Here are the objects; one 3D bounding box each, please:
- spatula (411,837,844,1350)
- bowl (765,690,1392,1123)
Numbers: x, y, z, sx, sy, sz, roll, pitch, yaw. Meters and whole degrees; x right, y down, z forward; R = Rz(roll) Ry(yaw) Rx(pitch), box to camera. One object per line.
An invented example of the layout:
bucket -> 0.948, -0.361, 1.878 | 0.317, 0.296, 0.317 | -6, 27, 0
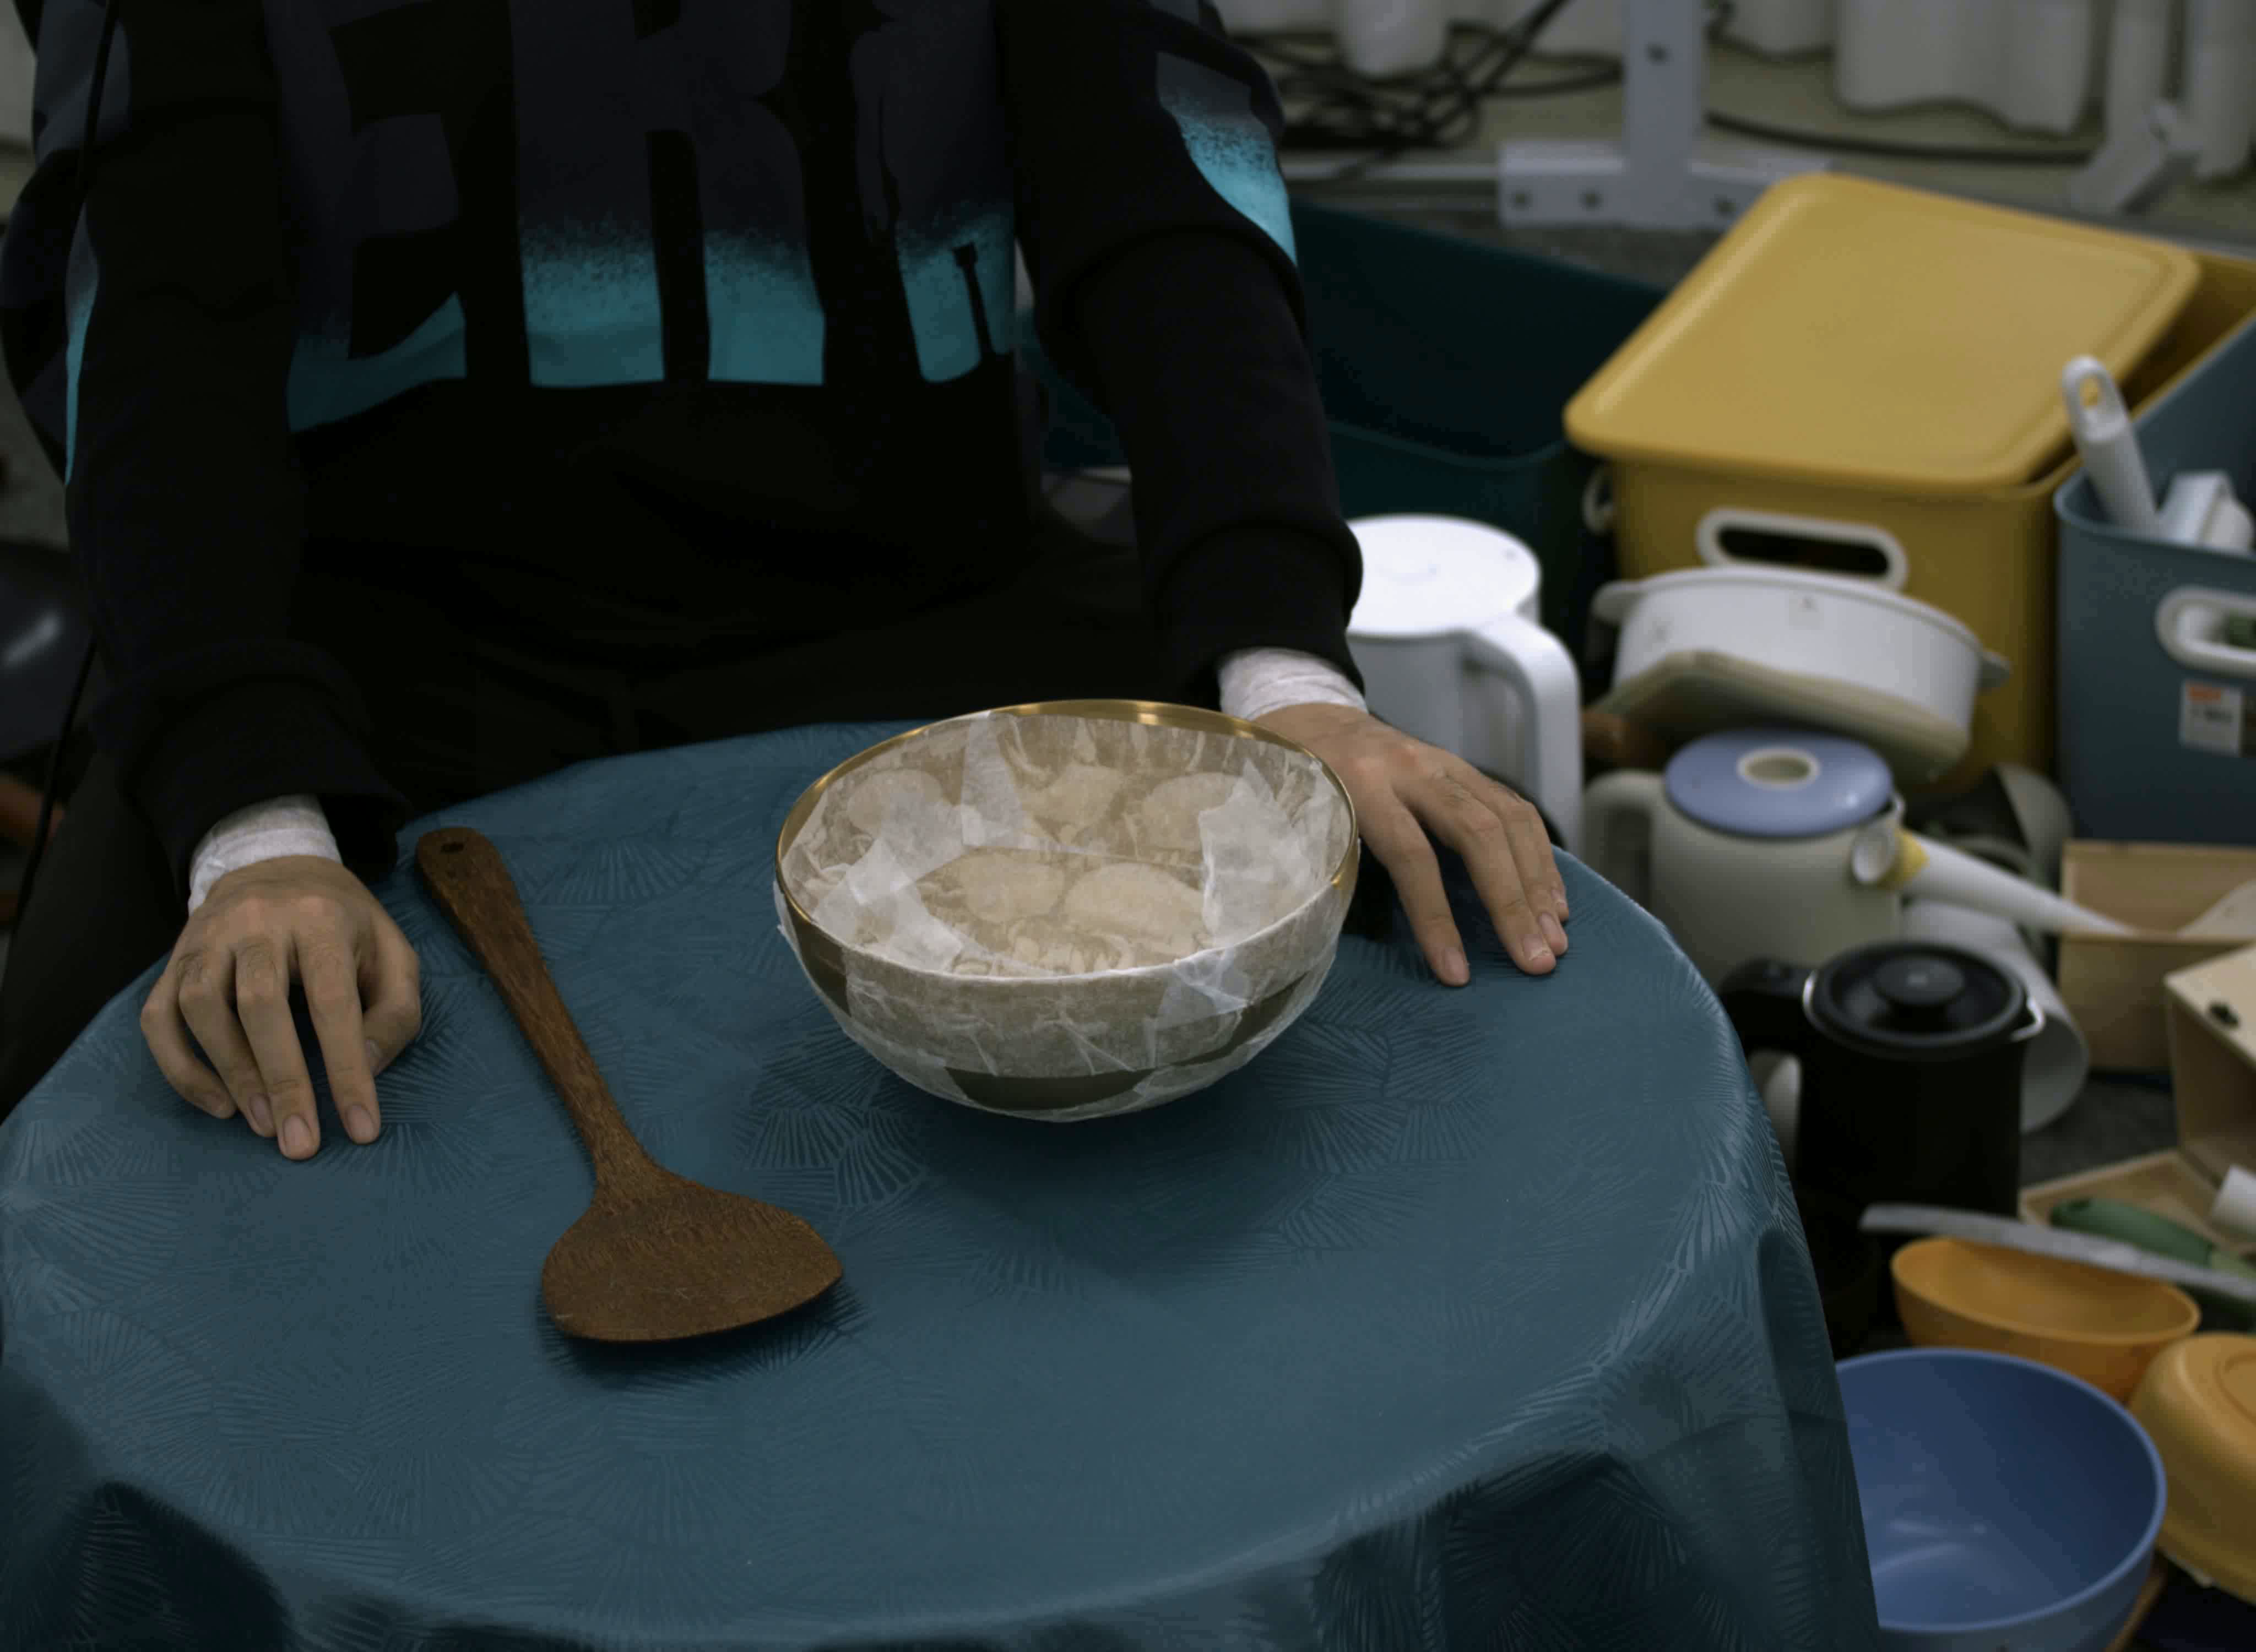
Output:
spatula -> -0.193, 0.084, 1.939 | 0.096, 0.015, 0.389 | -11, 28, -16
bowl -> -0.015, 0.040, 1.921 | 0.213, 0.093, 0.218 | -4, 26, 2
